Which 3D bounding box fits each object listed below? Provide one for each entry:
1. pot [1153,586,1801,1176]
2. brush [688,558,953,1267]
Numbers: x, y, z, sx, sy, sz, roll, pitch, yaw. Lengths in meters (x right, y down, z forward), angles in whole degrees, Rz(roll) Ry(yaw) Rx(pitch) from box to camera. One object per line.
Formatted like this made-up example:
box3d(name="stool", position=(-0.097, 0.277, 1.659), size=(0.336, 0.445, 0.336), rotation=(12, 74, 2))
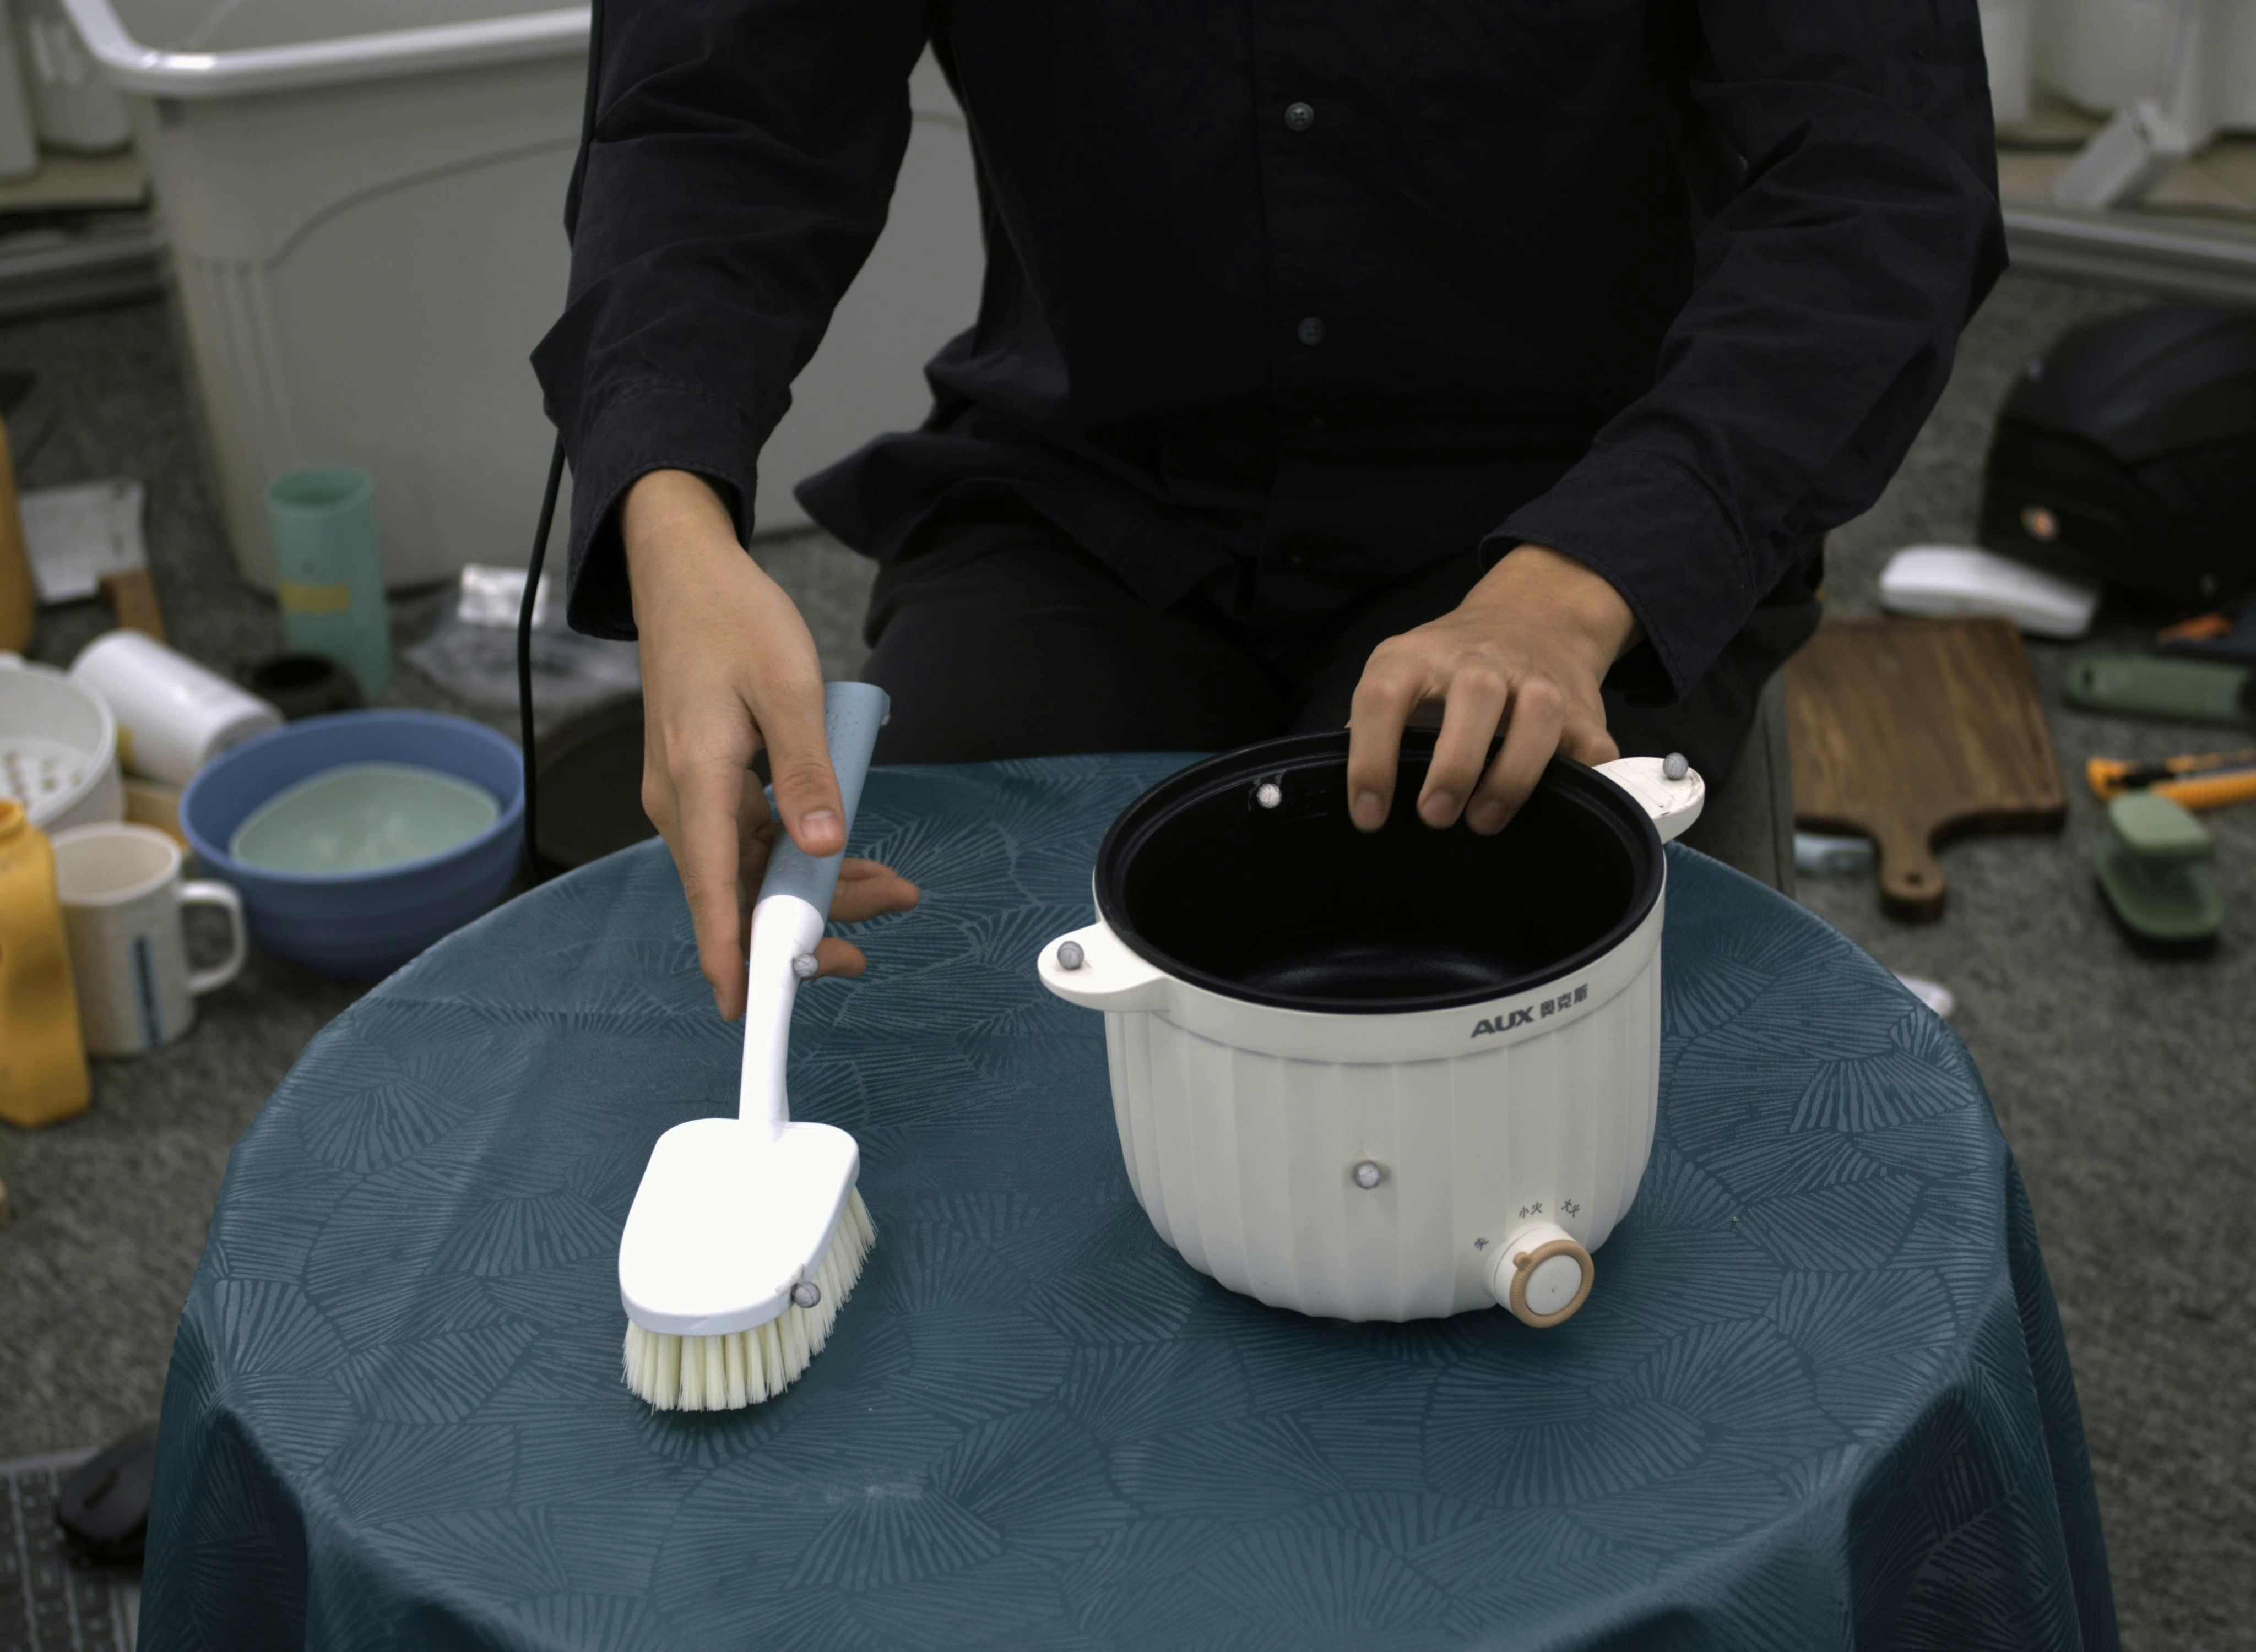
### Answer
box3d(name="pot", position=(0.121, 0.024, 1.820), size=(0.242, 0.141, 0.191), rotation=(-19, 29, -25))
box3d(name="brush", position=(-0.088, 0.037, 1.886), size=(0.083, 0.083, 0.332), rotation=(30, 38, -14))
